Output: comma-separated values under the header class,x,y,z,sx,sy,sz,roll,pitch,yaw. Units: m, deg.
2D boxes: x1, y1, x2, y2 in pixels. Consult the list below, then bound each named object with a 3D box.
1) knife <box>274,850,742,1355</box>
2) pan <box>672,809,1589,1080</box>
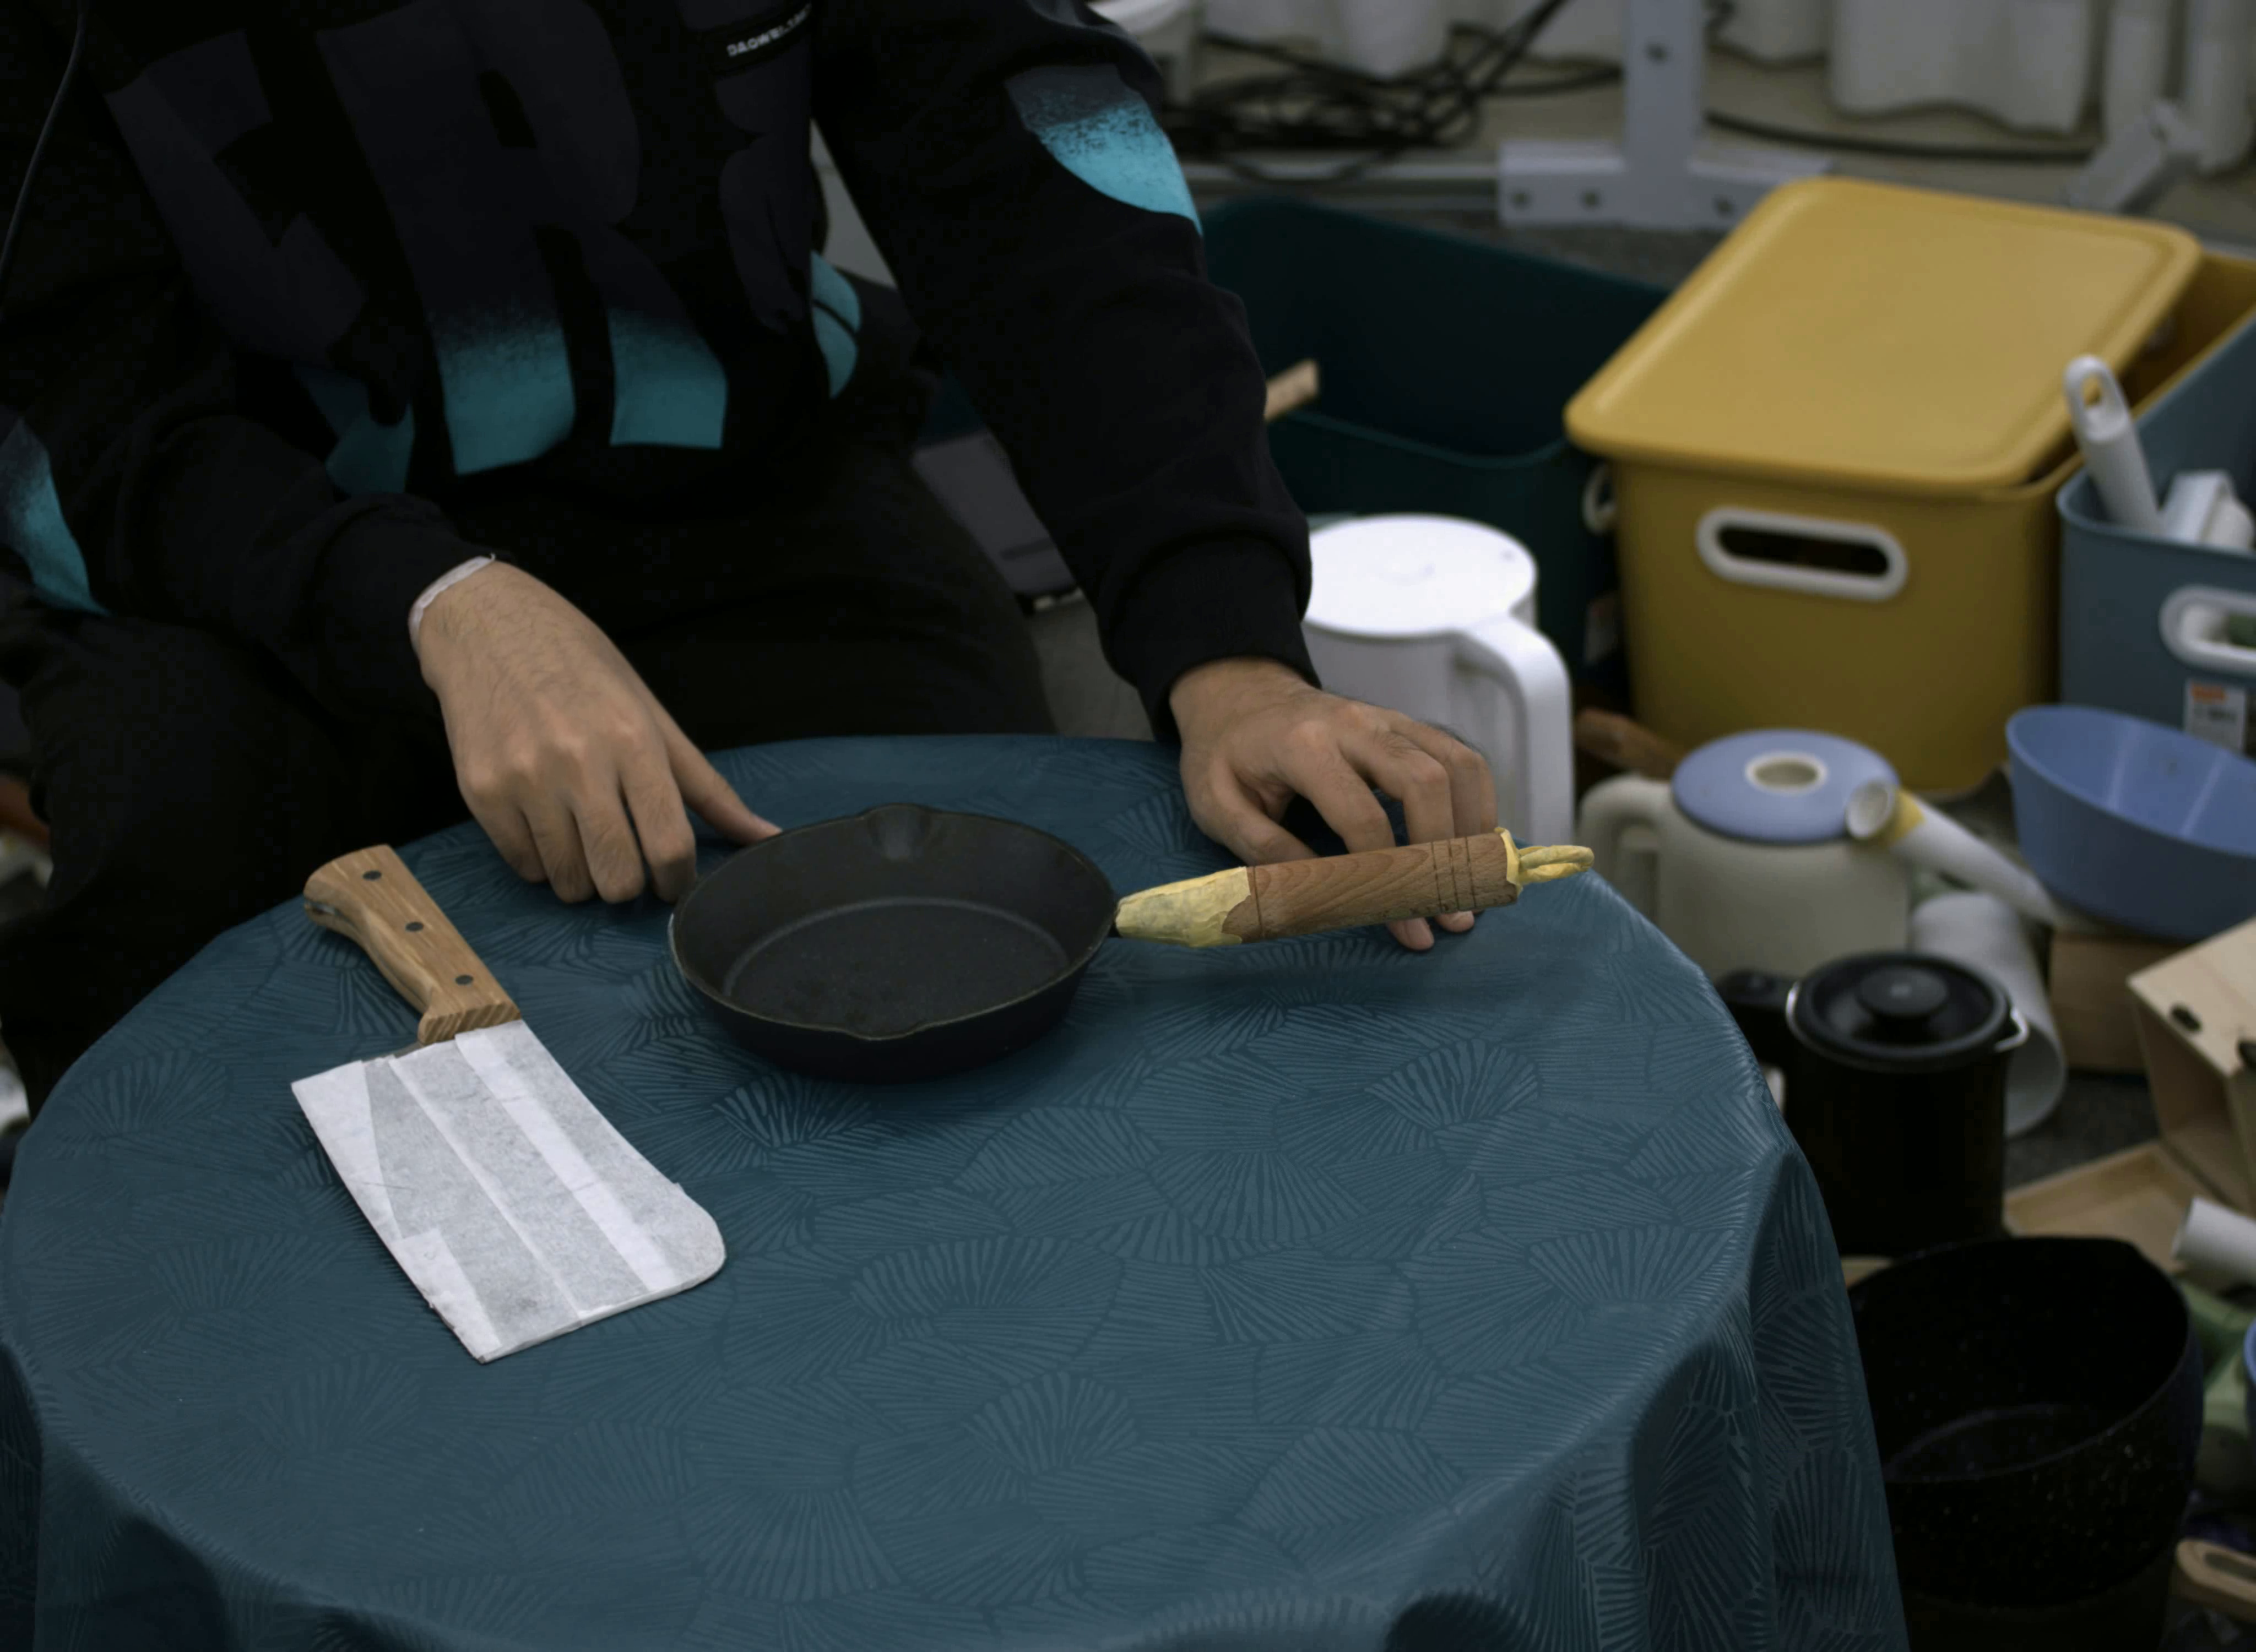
class,x,y,z,sx,sy,sz,roll,pitch,yaw
knife,-0.228,0.090,1.926,0.114,0.021,0.318,-14,32,-19
pan,0.001,0.035,1.975,0.322,0.049,0.171,-3,27,2
